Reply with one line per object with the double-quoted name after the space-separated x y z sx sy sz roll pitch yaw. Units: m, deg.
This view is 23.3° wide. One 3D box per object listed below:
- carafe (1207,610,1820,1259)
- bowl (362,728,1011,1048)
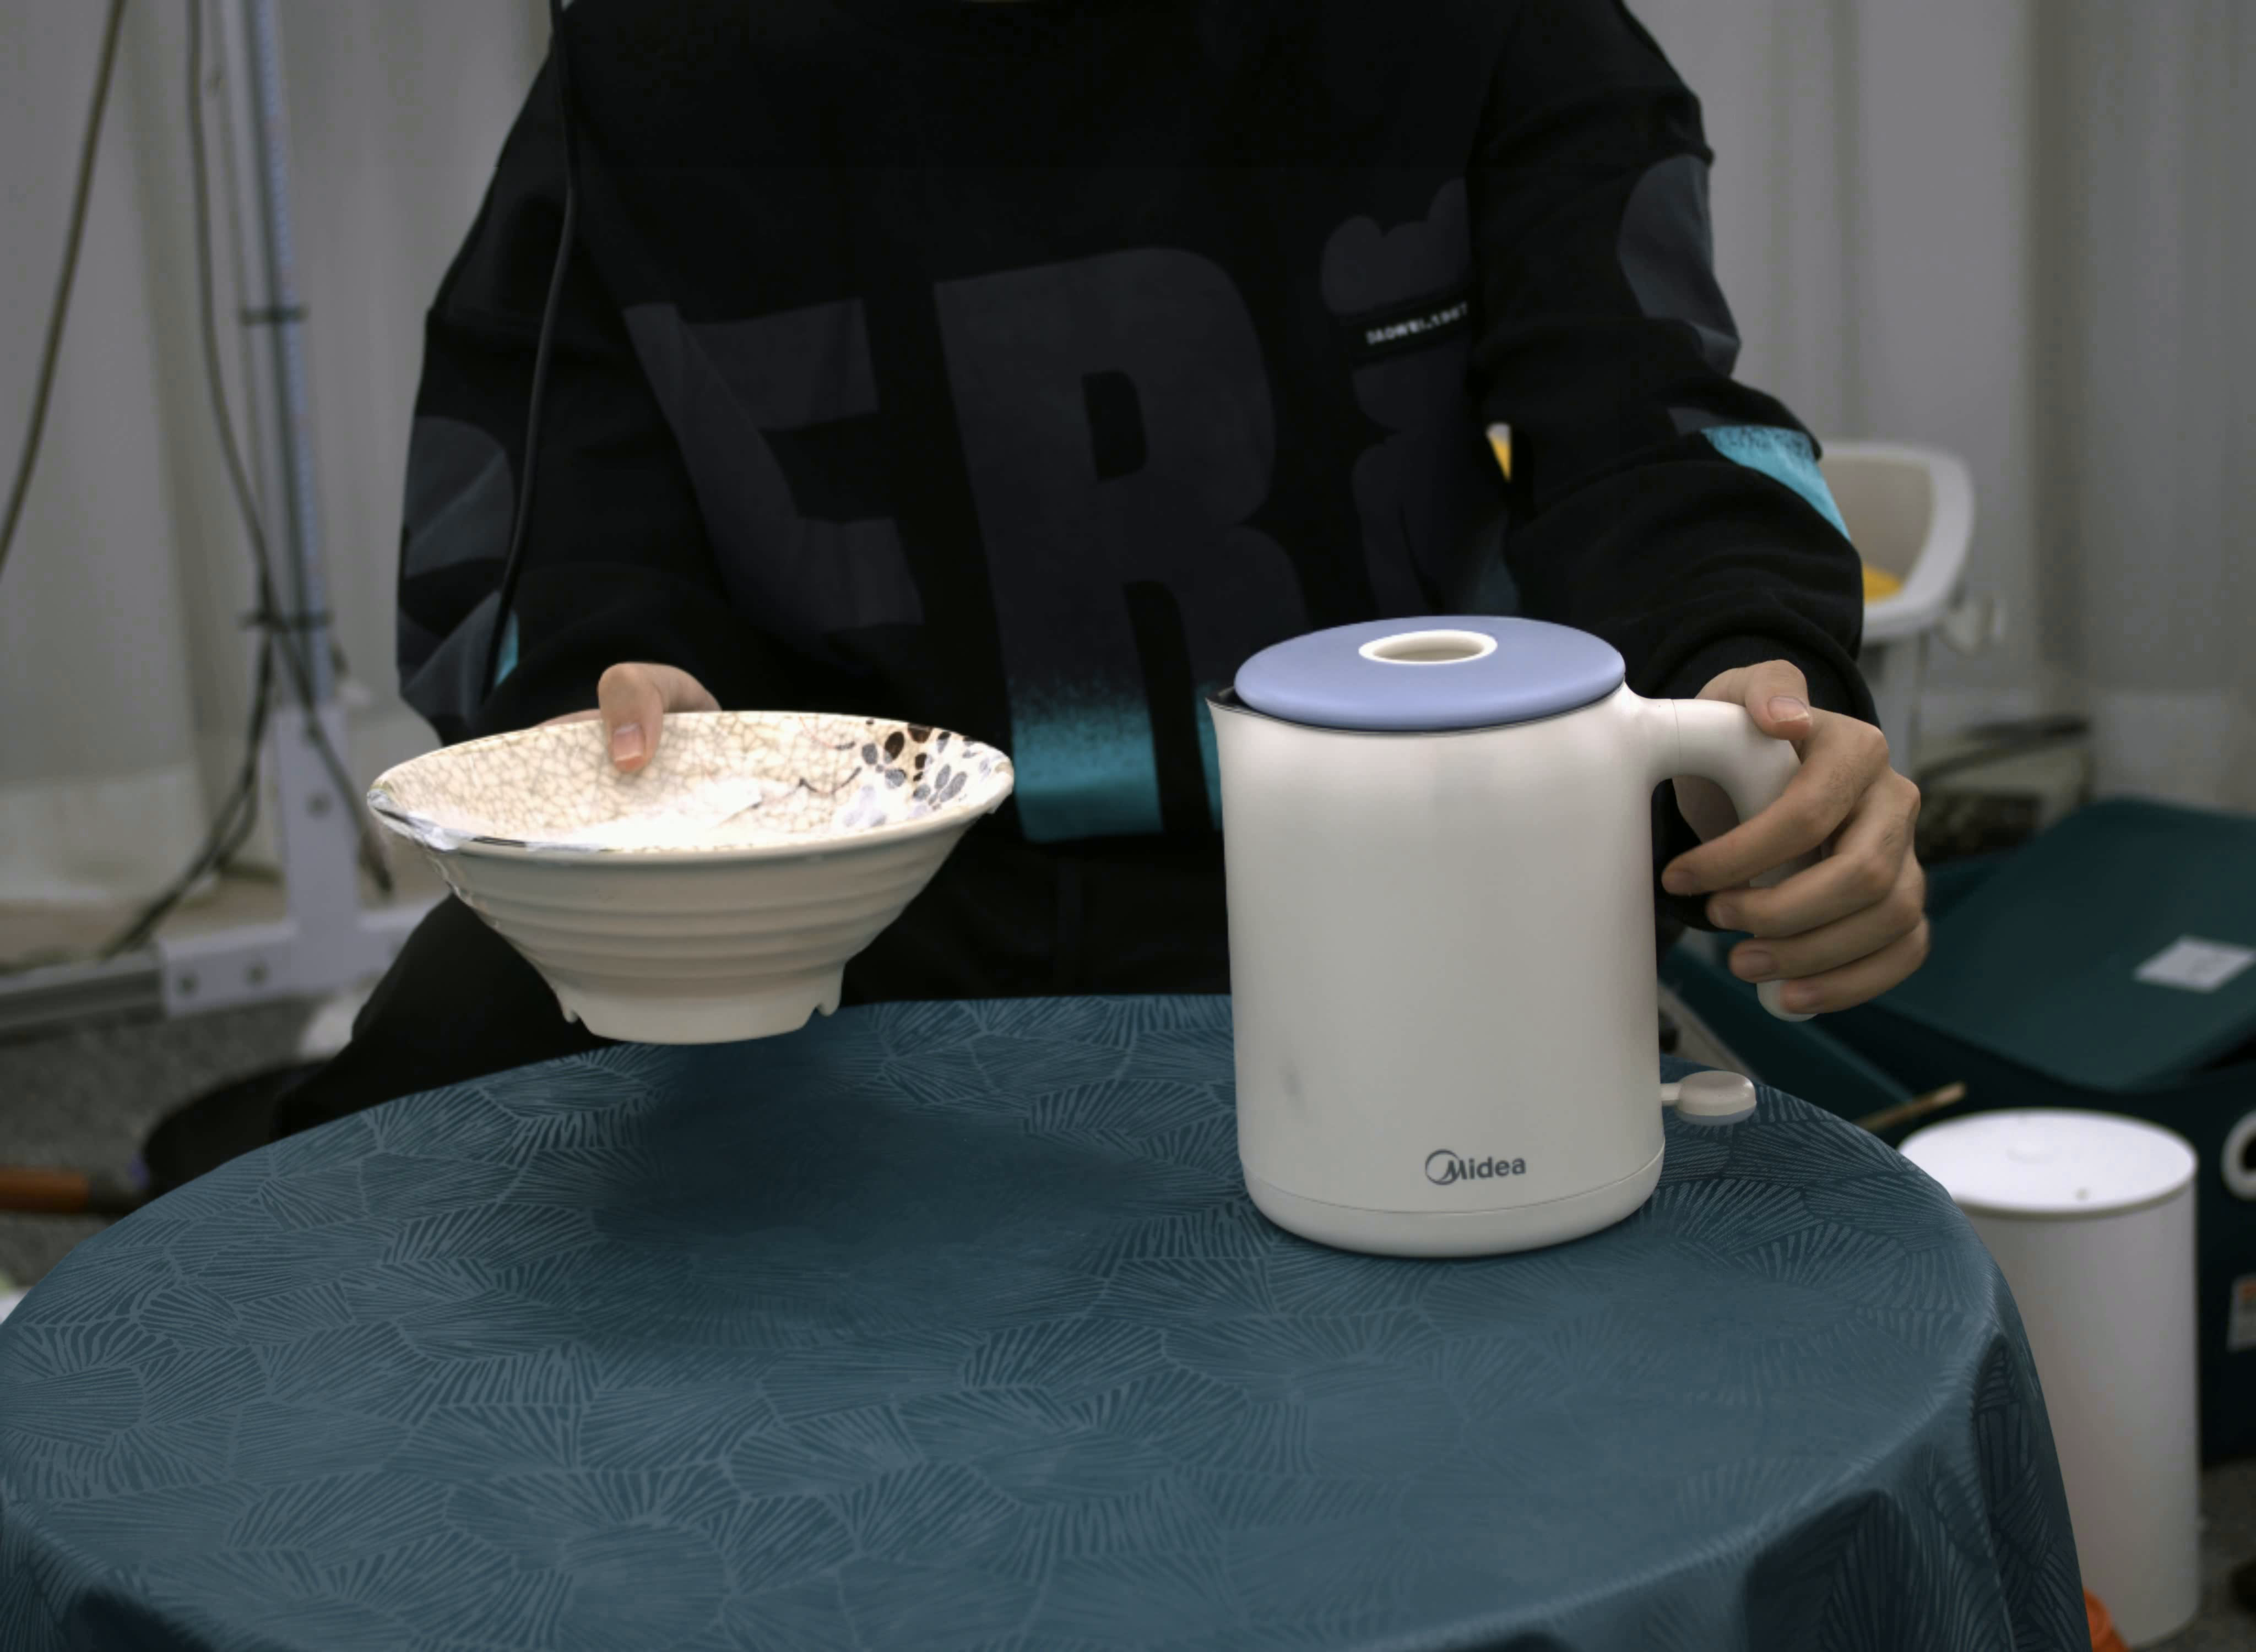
0.119 0.031 1.676 0.190 0.182 0.133 -2 15 -5 "carafe"
-0.138 0.023 1.722 0.203 0.078 0.205 0 10 0 "bowl"
